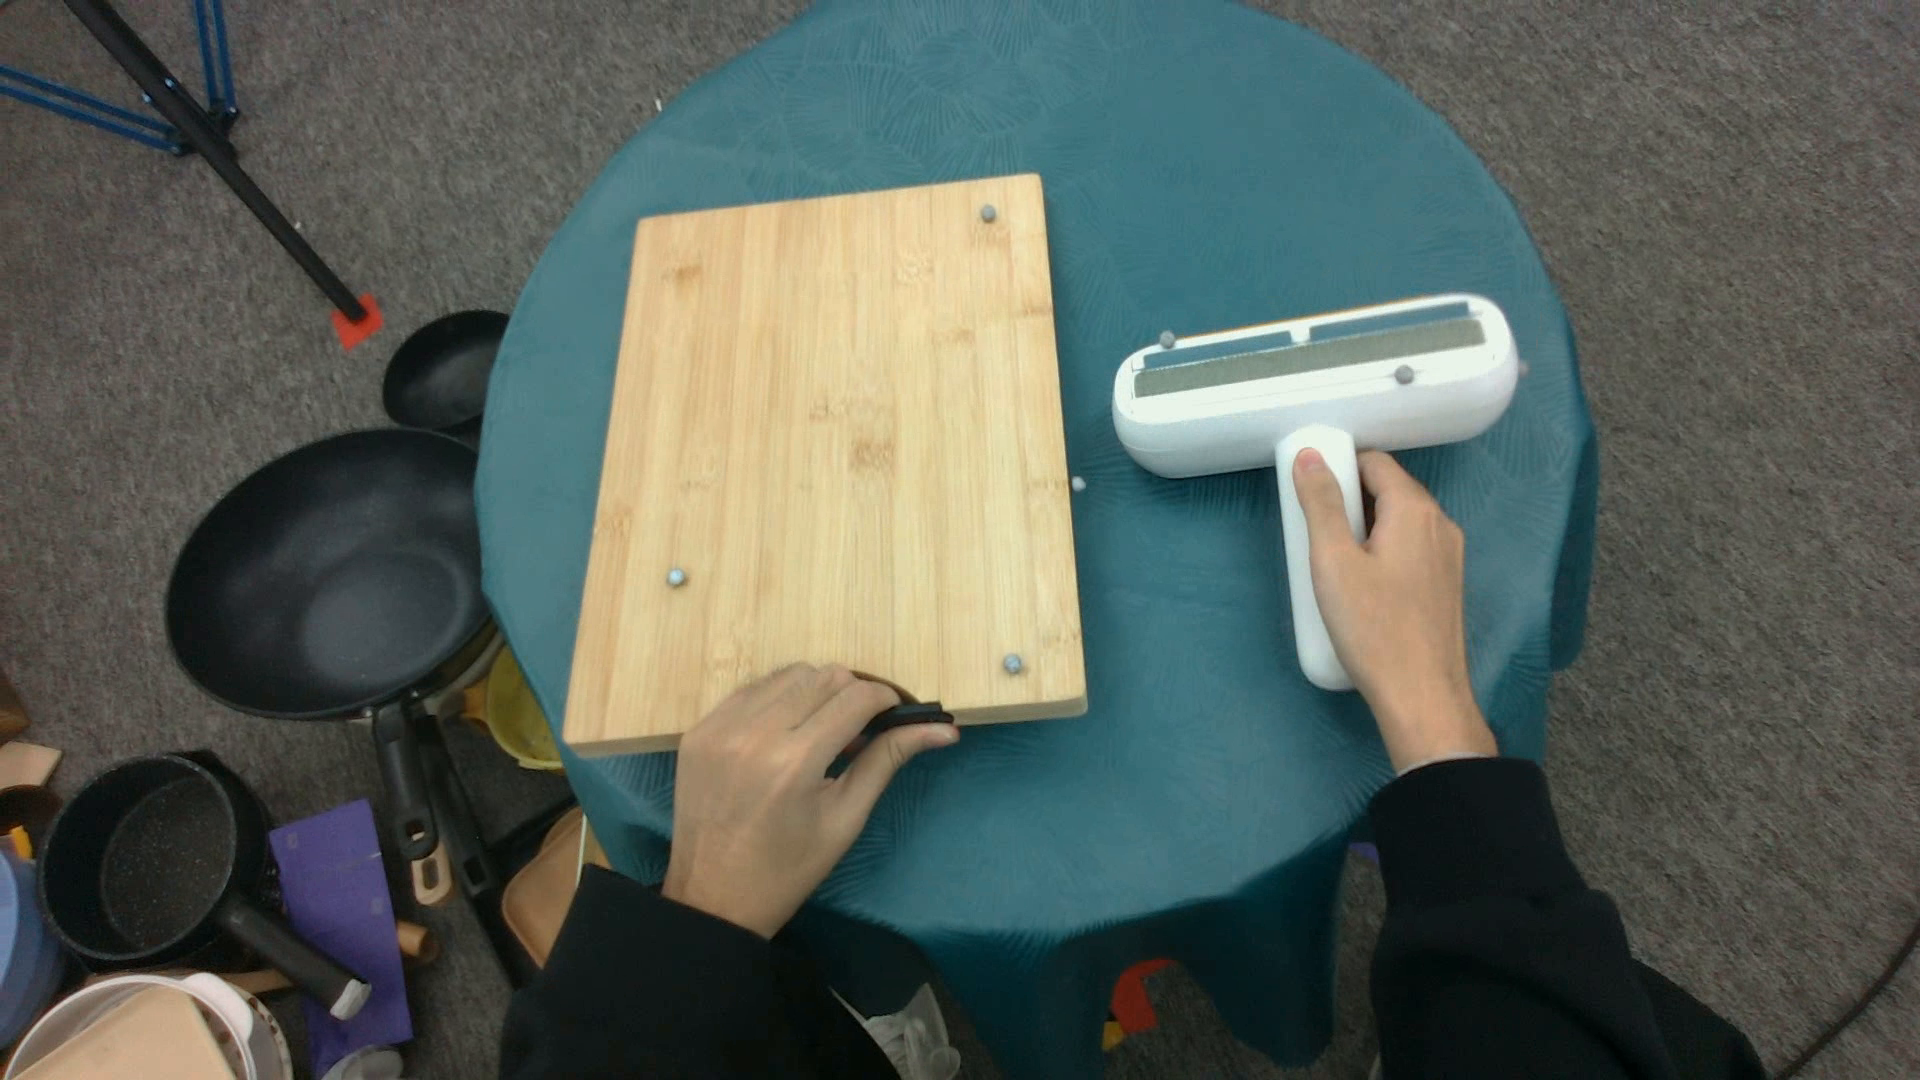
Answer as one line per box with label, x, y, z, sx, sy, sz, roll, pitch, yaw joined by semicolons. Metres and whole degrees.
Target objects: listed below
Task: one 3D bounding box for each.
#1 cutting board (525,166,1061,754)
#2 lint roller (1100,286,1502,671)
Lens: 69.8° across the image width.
cutting board;-0.080;-0.060;0.713;0.250;0.023;0.350;-6;56;4
lint roller;0.162;-0.033;0.663;0.192;0.074;0.193;-1;58;12
